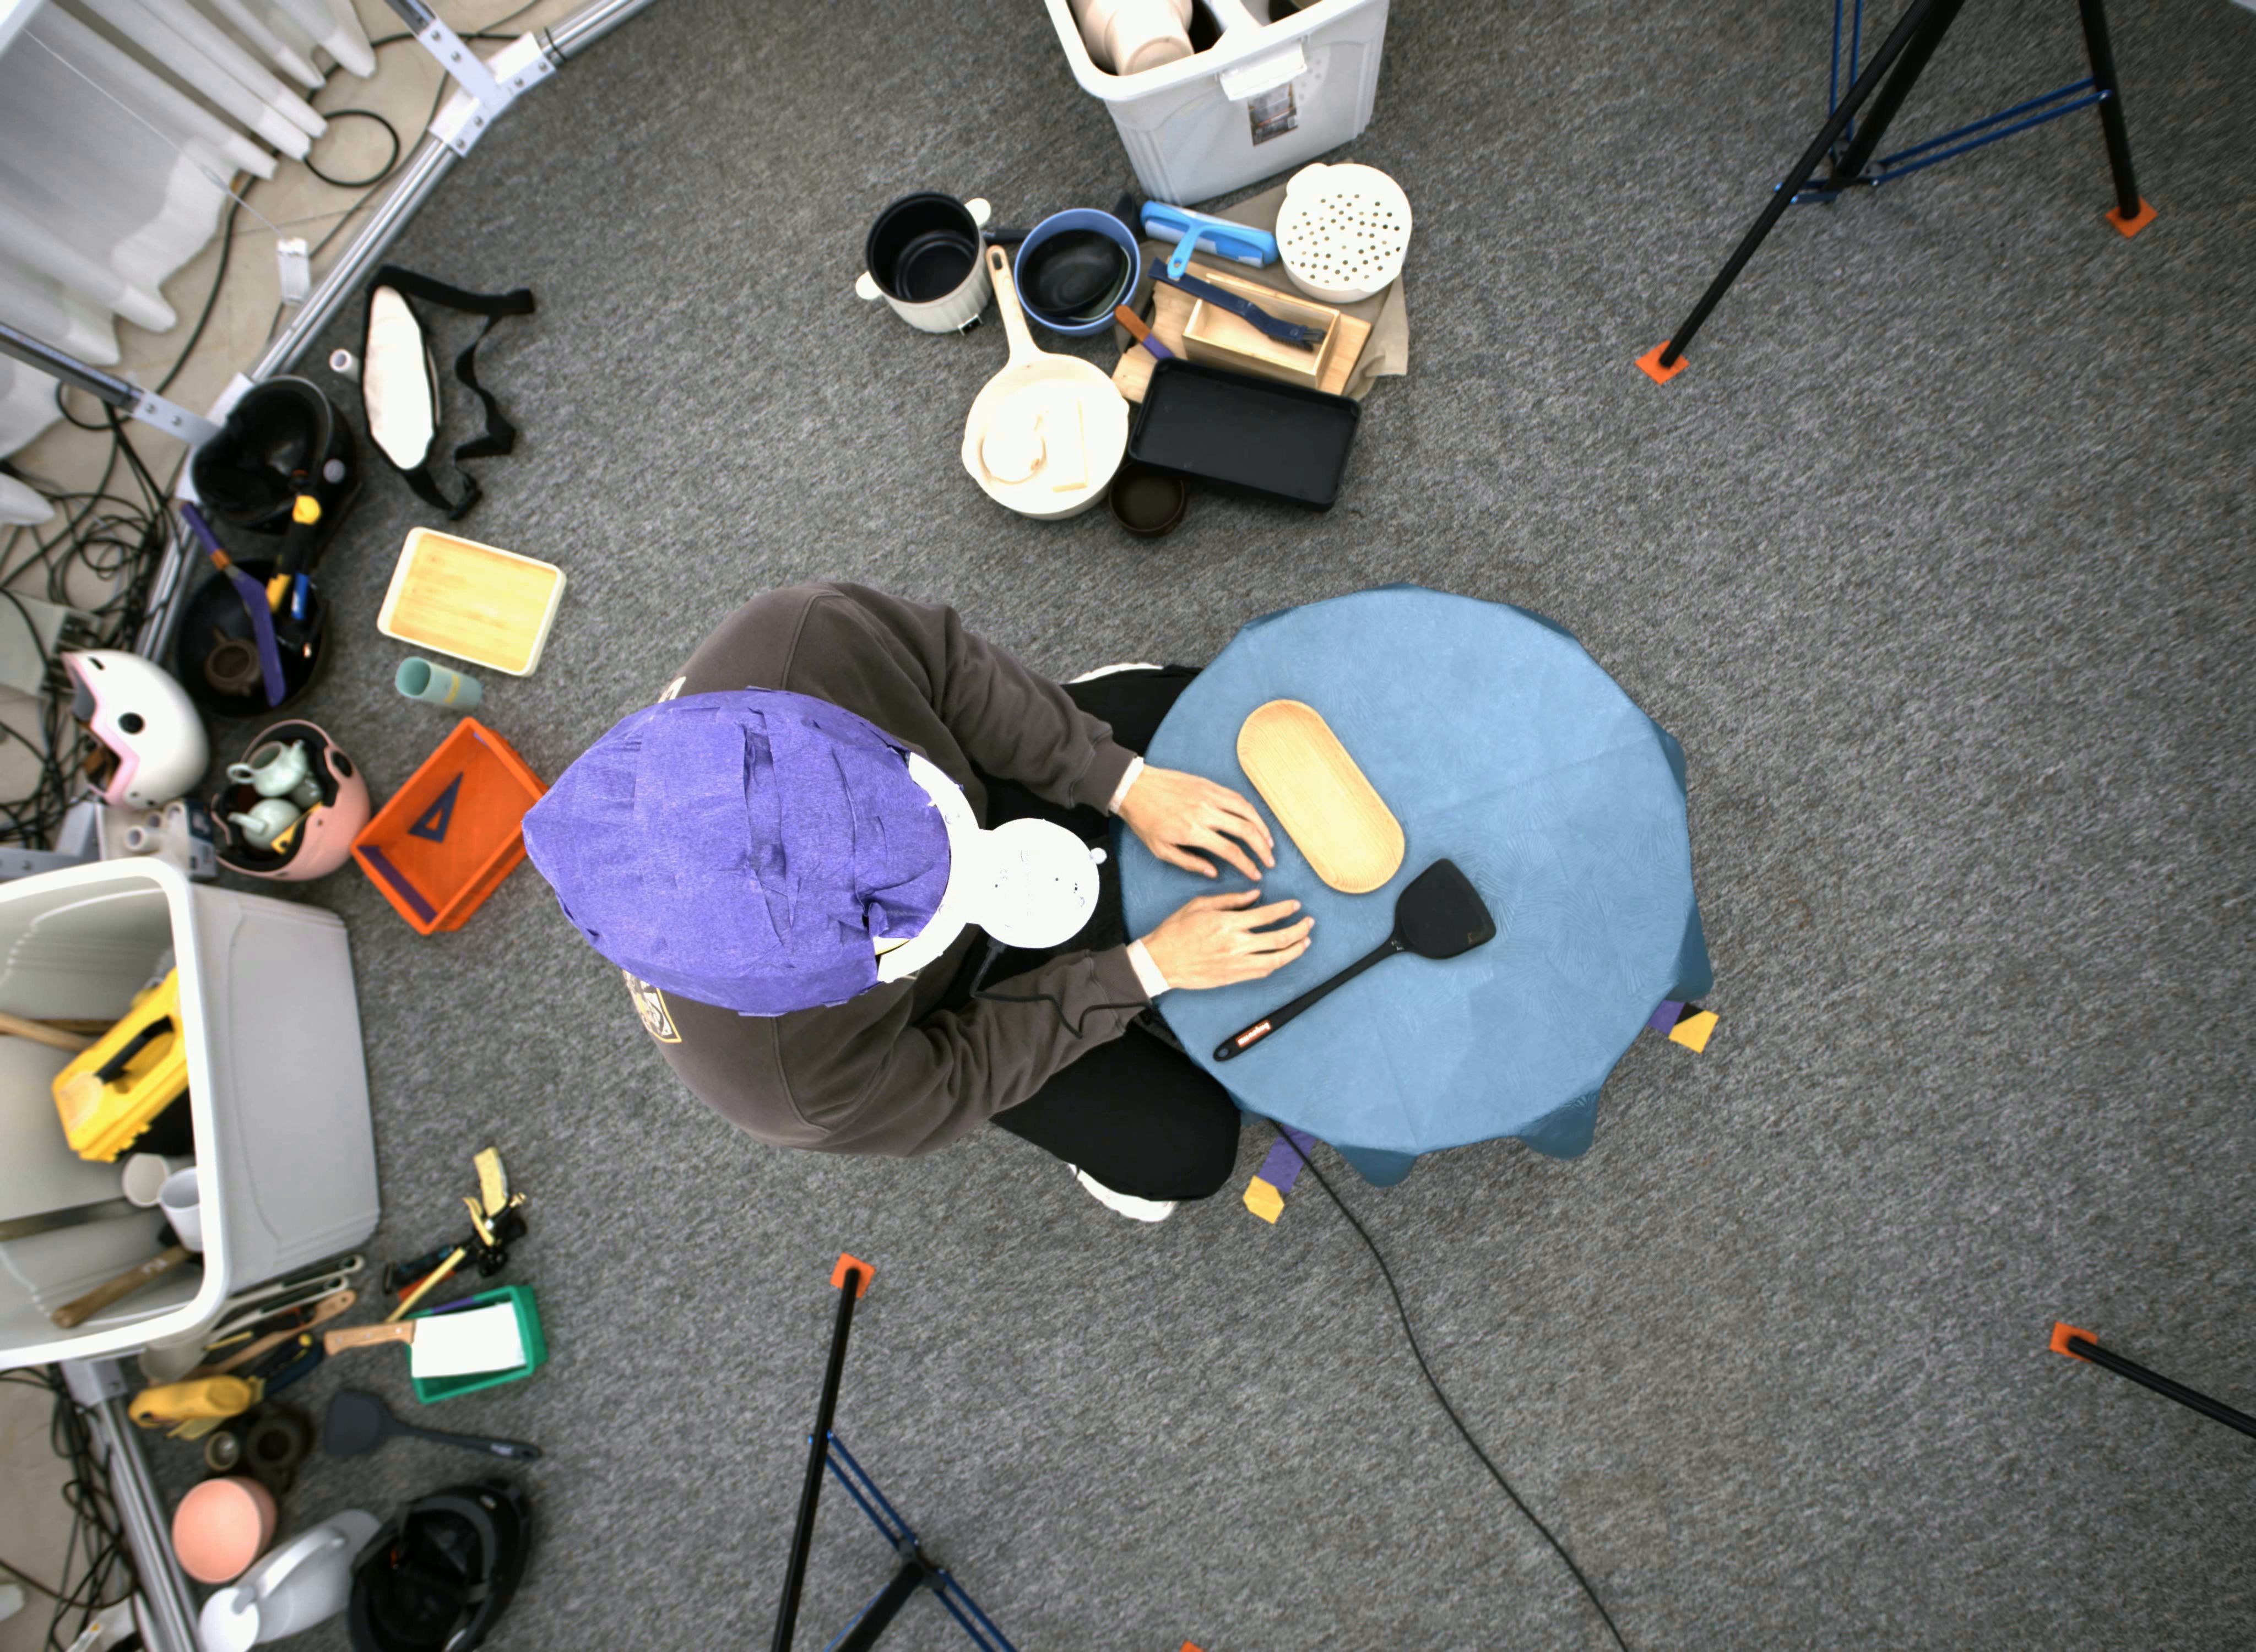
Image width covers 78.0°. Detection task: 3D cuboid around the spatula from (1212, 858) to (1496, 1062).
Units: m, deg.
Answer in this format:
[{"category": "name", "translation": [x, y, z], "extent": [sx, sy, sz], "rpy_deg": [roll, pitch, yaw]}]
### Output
[{"category": "spatula", "translation": [0.224, 0.156, 1.444], "extent": [0.328, 0.040, 0.099], "rpy_deg": [-33, 80, 7]}]

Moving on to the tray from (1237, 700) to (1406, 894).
[{"category": "tray", "translation": [0.204, -0.032, 1.467], "extent": [0.102, 0.020, 0.230], "rpy_deg": [-36, 83, 7]}]
